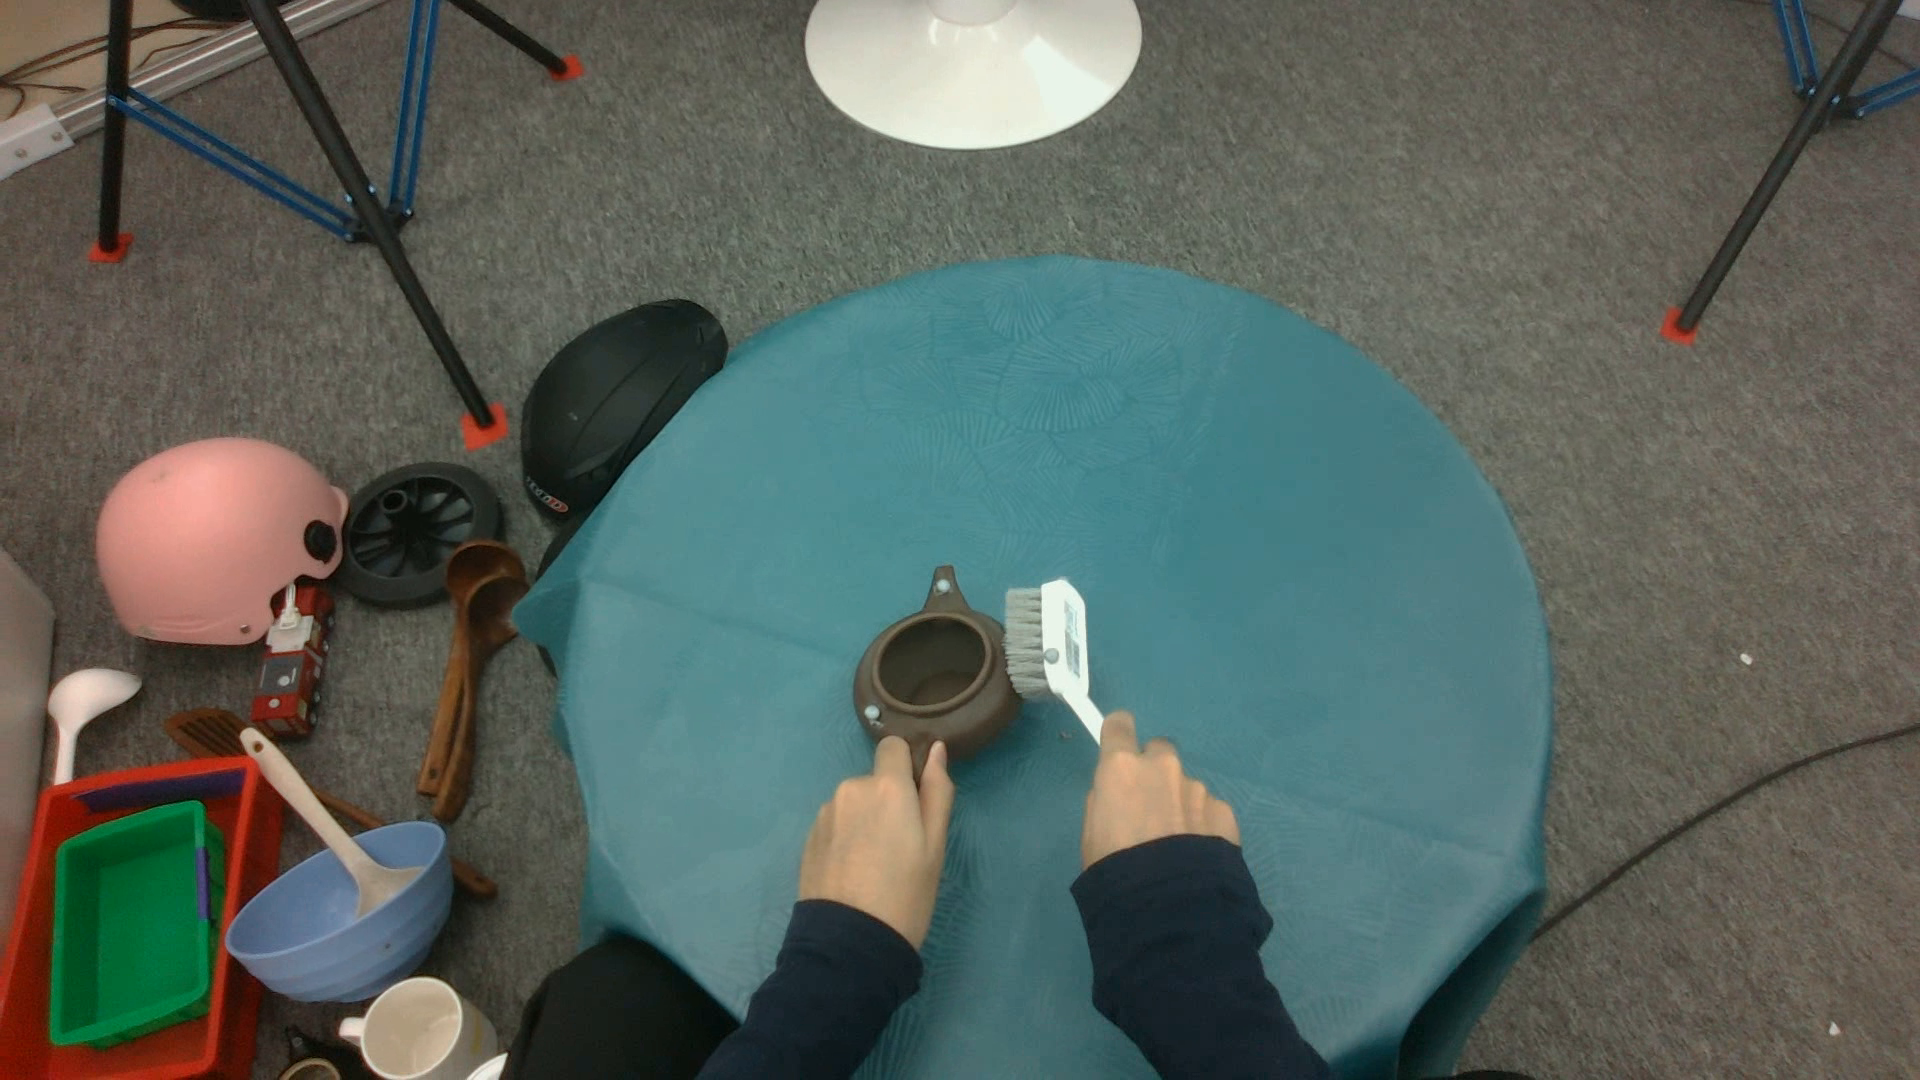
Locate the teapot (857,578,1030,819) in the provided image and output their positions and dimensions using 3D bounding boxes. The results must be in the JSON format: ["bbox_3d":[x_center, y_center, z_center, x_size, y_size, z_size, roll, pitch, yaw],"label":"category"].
[{"bbox_3d":[-0.010,0.093,0.799,0.102,0.053,0.154,-9,44,9],"label":"teapot"}]

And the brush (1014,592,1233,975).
[{"bbox_3d":[0.077,0.125,0.734,0.050,0.034,0.244,-28,51,10],"label":"brush"}]
